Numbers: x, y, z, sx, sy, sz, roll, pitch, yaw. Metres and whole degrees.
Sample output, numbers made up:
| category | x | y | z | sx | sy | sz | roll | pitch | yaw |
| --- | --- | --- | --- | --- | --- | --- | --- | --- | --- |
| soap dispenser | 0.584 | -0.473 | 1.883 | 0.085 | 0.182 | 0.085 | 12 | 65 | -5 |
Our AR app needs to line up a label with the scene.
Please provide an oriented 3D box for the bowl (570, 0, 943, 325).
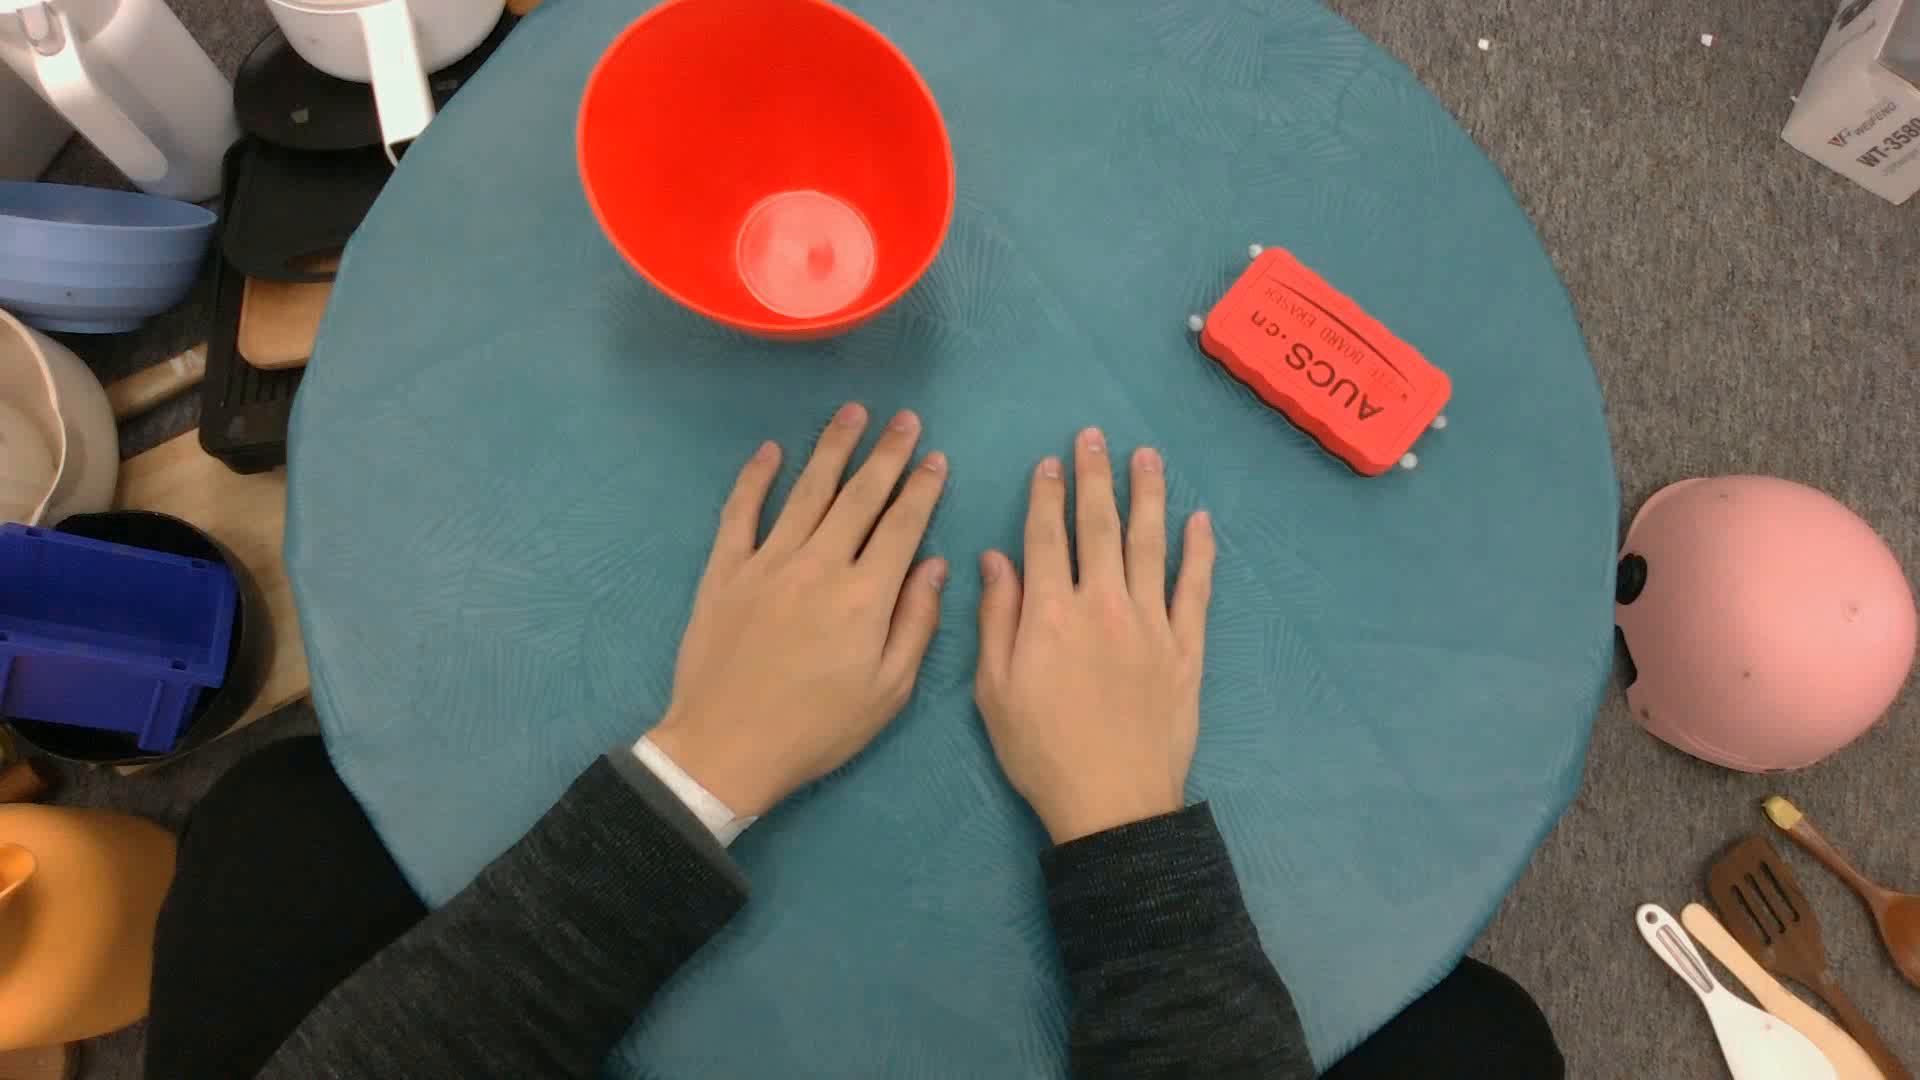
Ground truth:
| category | x | y | z | sx | sy | sz | roll | pitch | yaw |
| --- | --- | --- | --- | --- | --- | --- | --- | --- | --- |
| bowl | -0.083 | -0.151 | 0.591 | 0.148 | 0.104 | 0.148 | 1 | 75 | -5 |

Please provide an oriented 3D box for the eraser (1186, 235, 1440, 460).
| category | x | y | z | sx | sy | sz | roll | pitch | yaw |
| --- | --- | --- | --- | --- | --- | --- | --- | --- | --- |
| eraser | 0.162 | -0.089 | 0.637 | 0.108 | 0.023 | 0.059 | 38 | 74 | 6 |
